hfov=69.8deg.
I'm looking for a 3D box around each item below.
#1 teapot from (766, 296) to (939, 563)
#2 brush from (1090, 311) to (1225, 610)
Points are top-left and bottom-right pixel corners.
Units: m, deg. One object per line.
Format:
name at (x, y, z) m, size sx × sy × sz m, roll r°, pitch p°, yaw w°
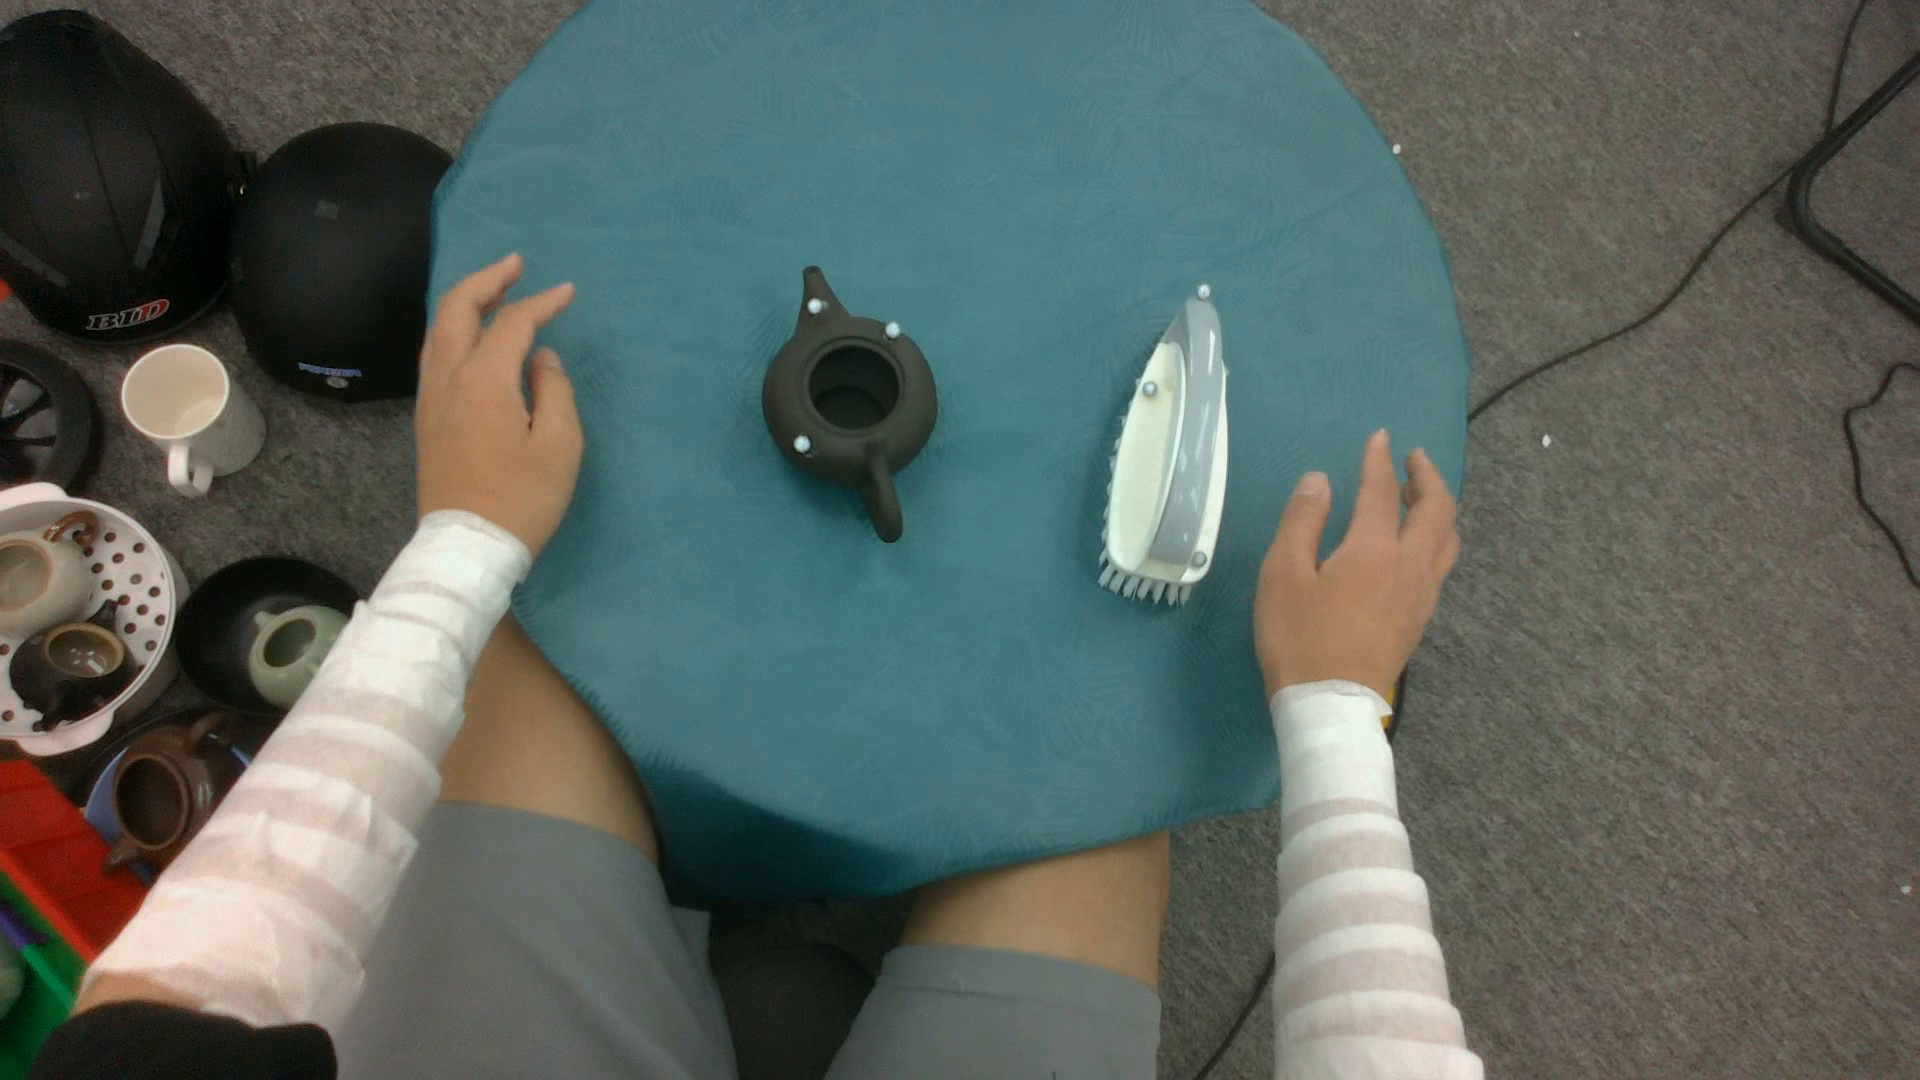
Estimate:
teapot at (-0.057, -0.058, 0.744) m, size 0.092 × 0.064 × 0.154 m, roll -17°, pitch 73°, yaw -13°
brush at (0.117, -0.057, 0.754) m, size 0.061 × 0.094 × 0.176 m, roll 13°, pitch 68°, yaw -7°
